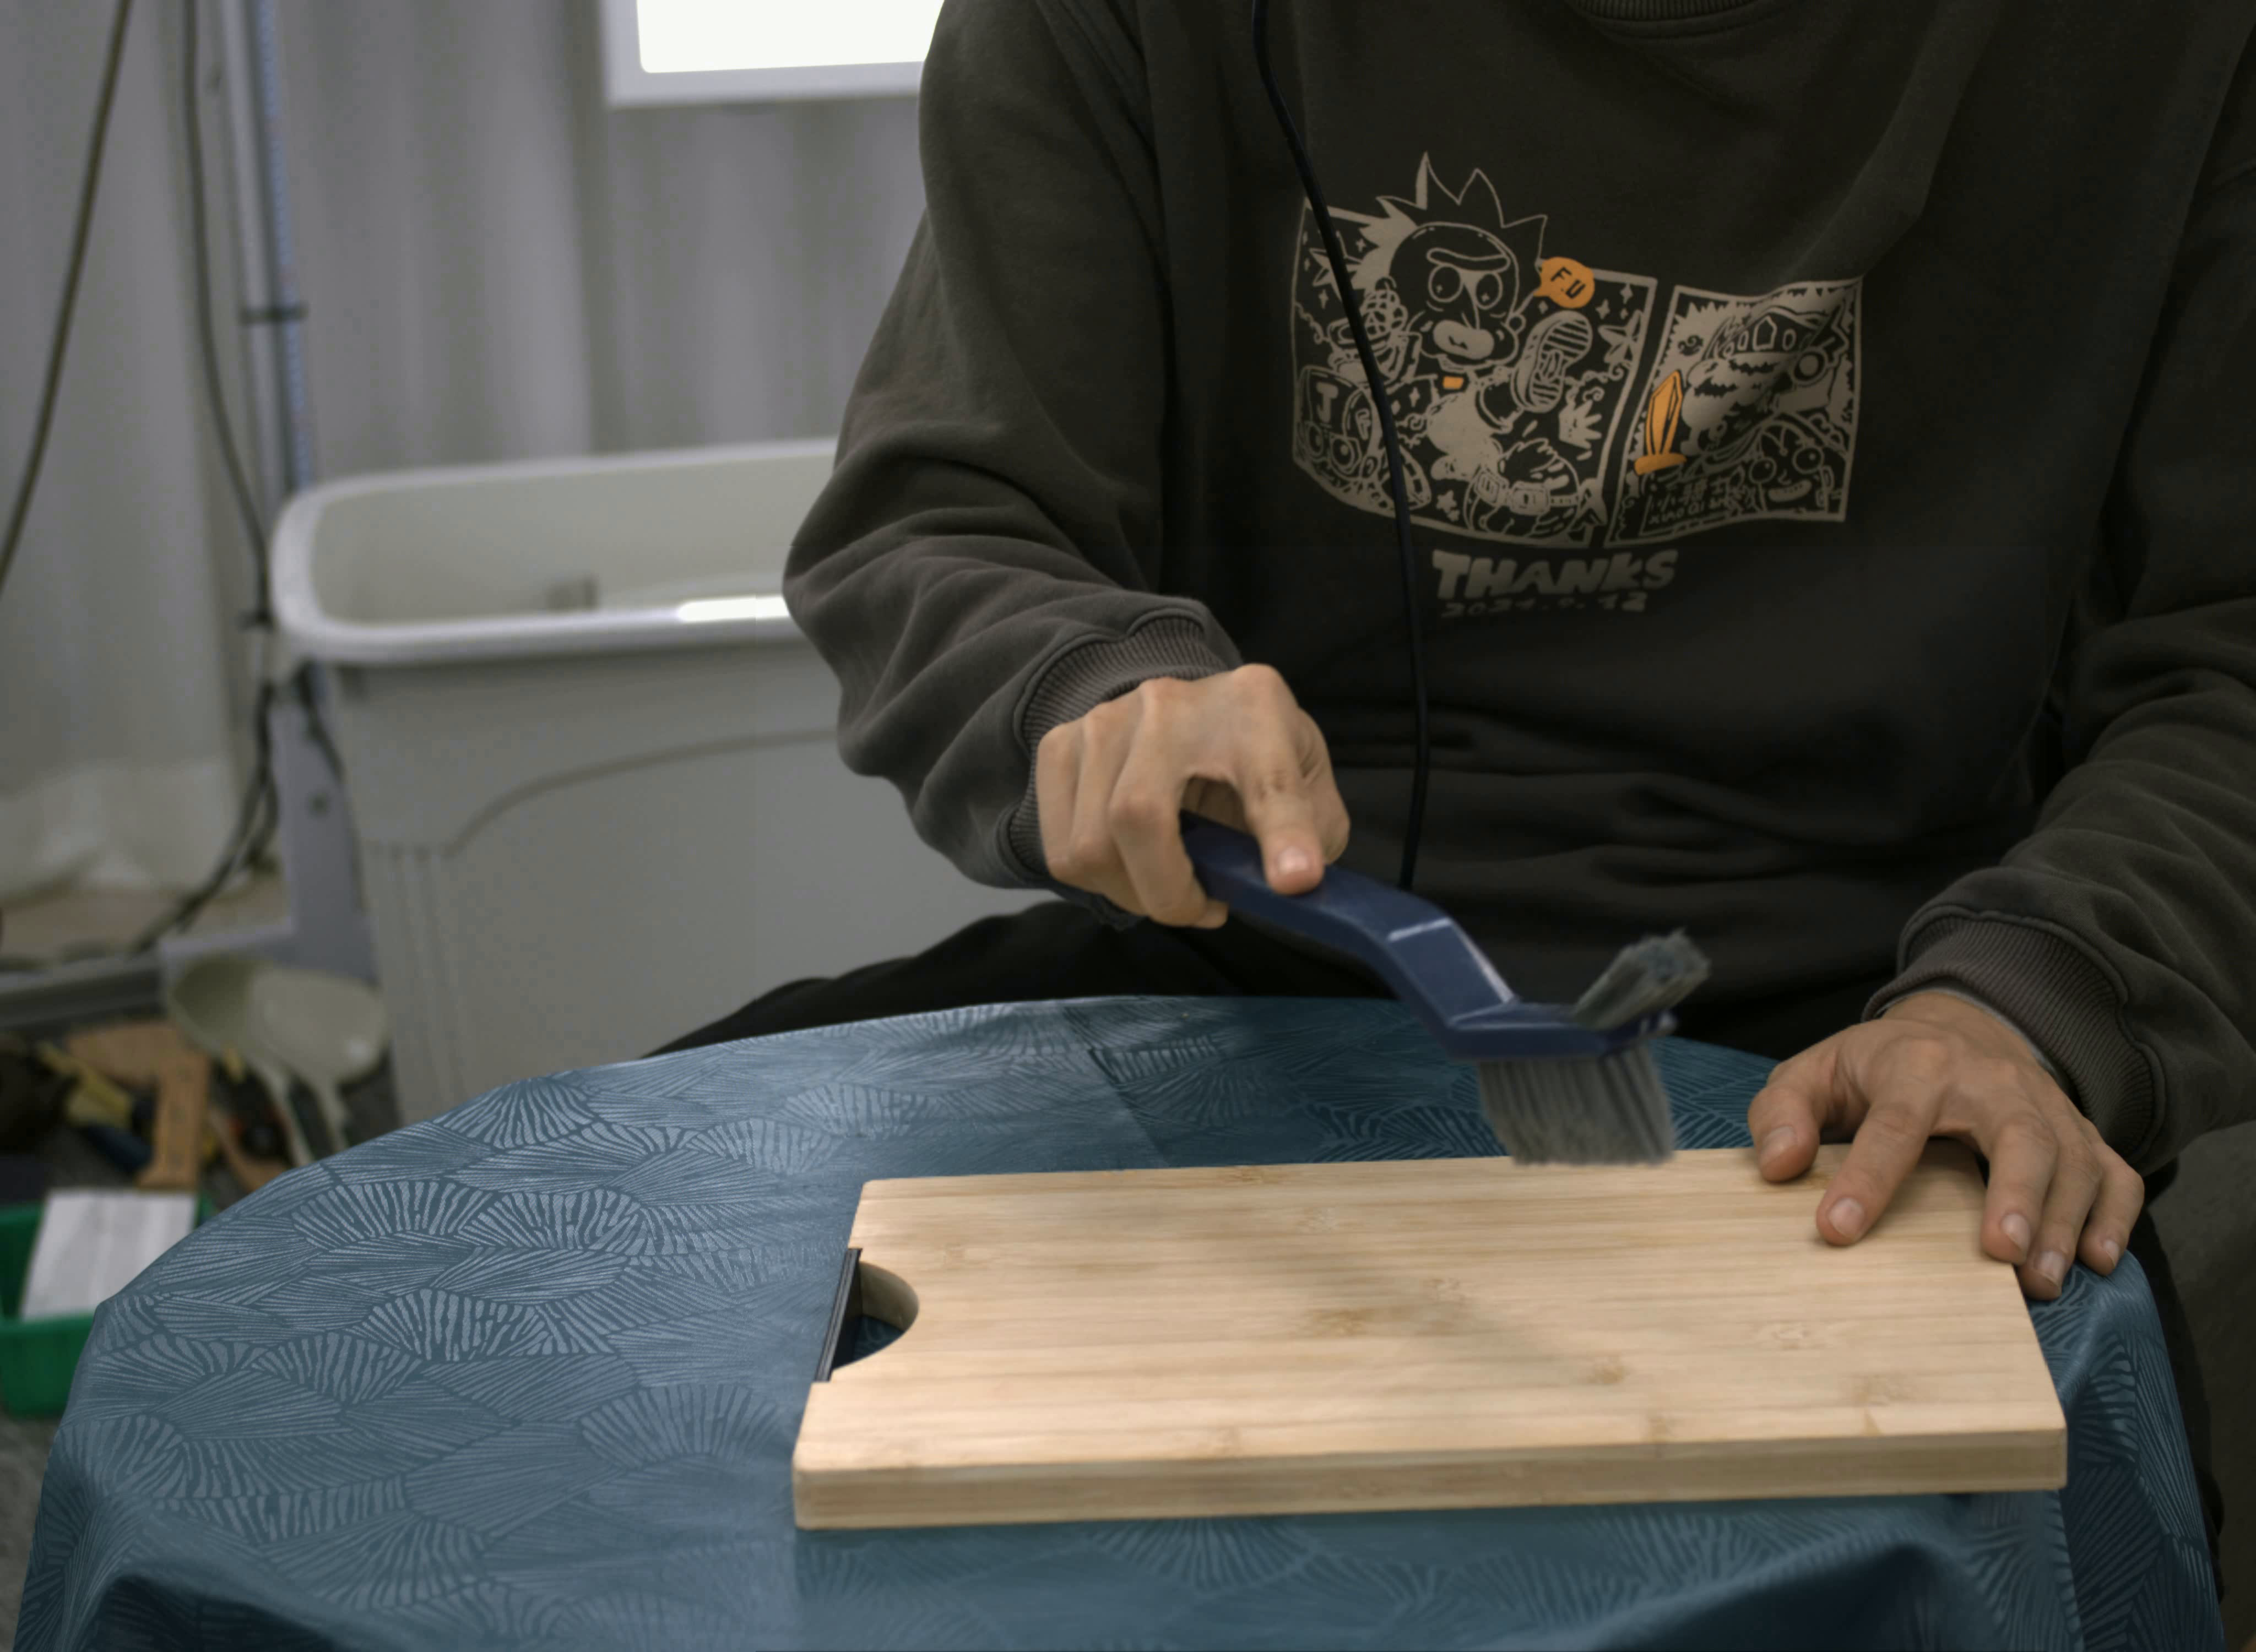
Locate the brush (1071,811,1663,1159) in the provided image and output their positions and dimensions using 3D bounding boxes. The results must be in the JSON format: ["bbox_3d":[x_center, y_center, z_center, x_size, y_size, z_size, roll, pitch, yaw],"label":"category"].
[{"bbox_3d":[0.066,0.023,1.543,0.033,0.095,0.276,-21,31,-26],"label":"brush"}]

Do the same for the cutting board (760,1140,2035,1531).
[{"bbox_3d":[0.077,0.144,1.568,0.347,0.023,0.252,-2,15,2],"label":"cutting board"}]
